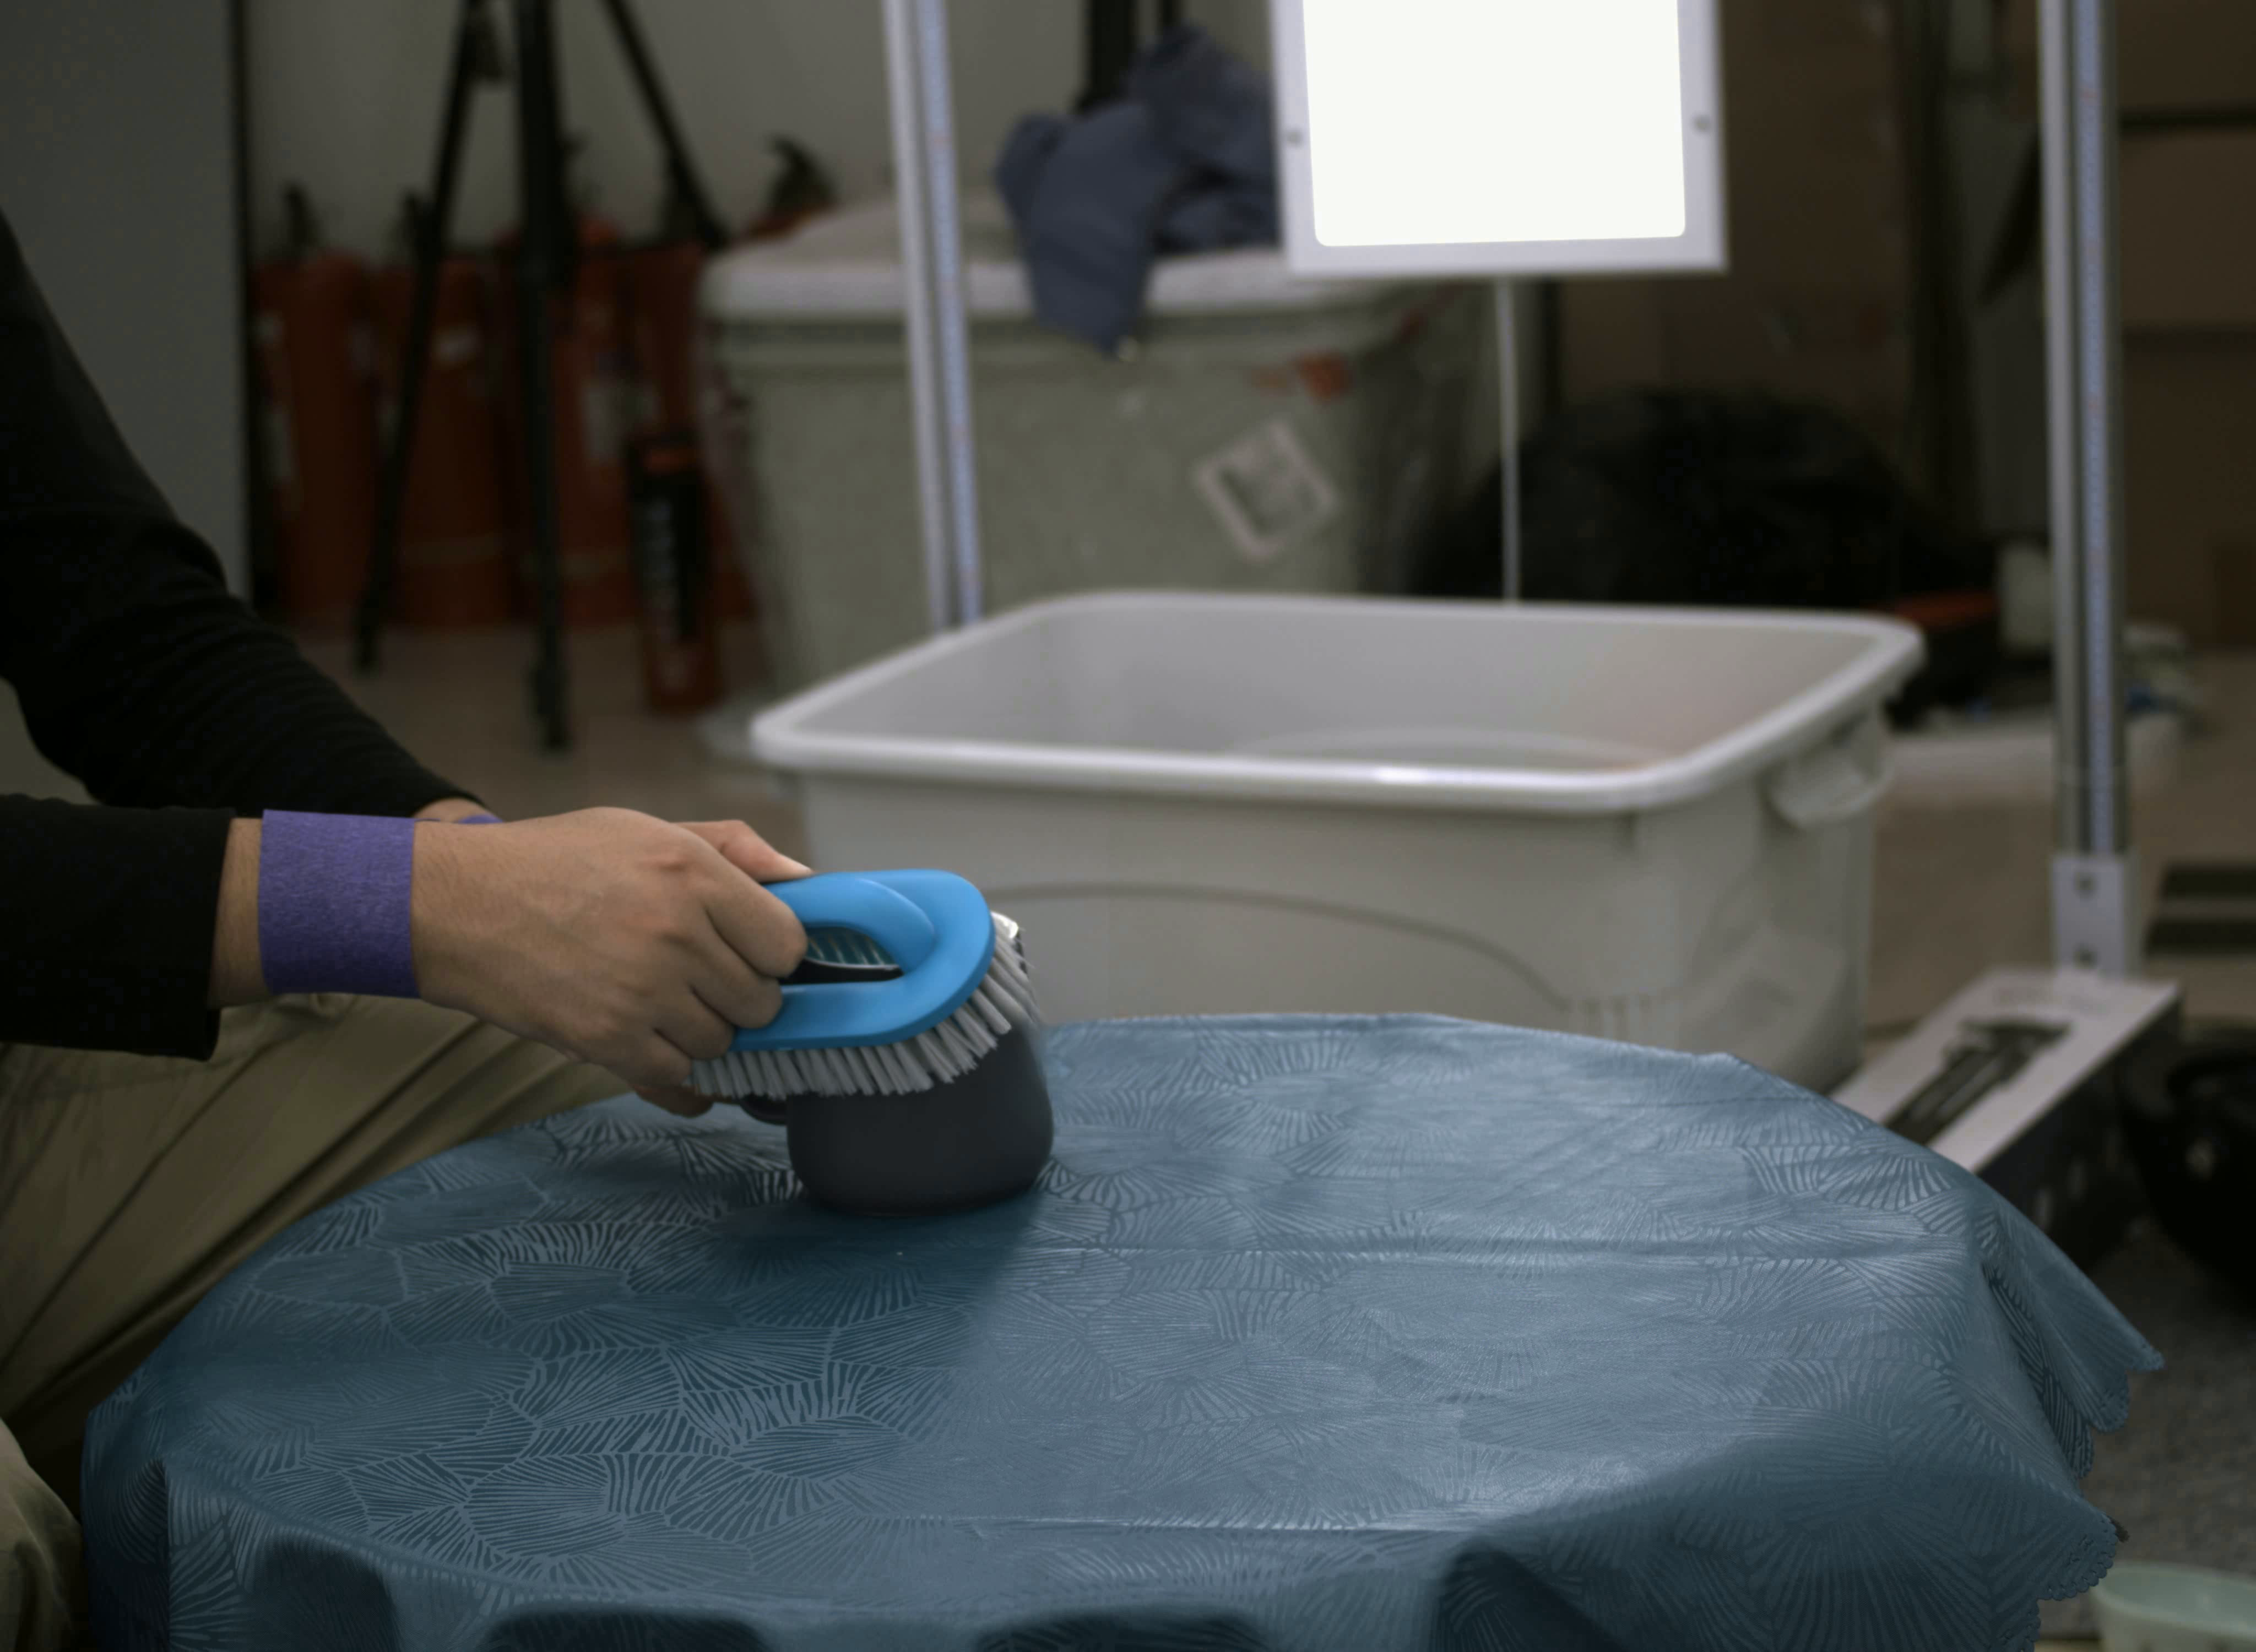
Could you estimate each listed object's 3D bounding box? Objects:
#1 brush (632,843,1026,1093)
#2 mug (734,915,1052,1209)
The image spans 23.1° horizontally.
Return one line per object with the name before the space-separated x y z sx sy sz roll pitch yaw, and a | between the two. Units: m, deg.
brush | -0.109 0.040 1.877 0.144 0.063 0.083 -1 54 29
mug | -0.087 0.078 1.925 0.125 0.090 0.091 6 17 32
